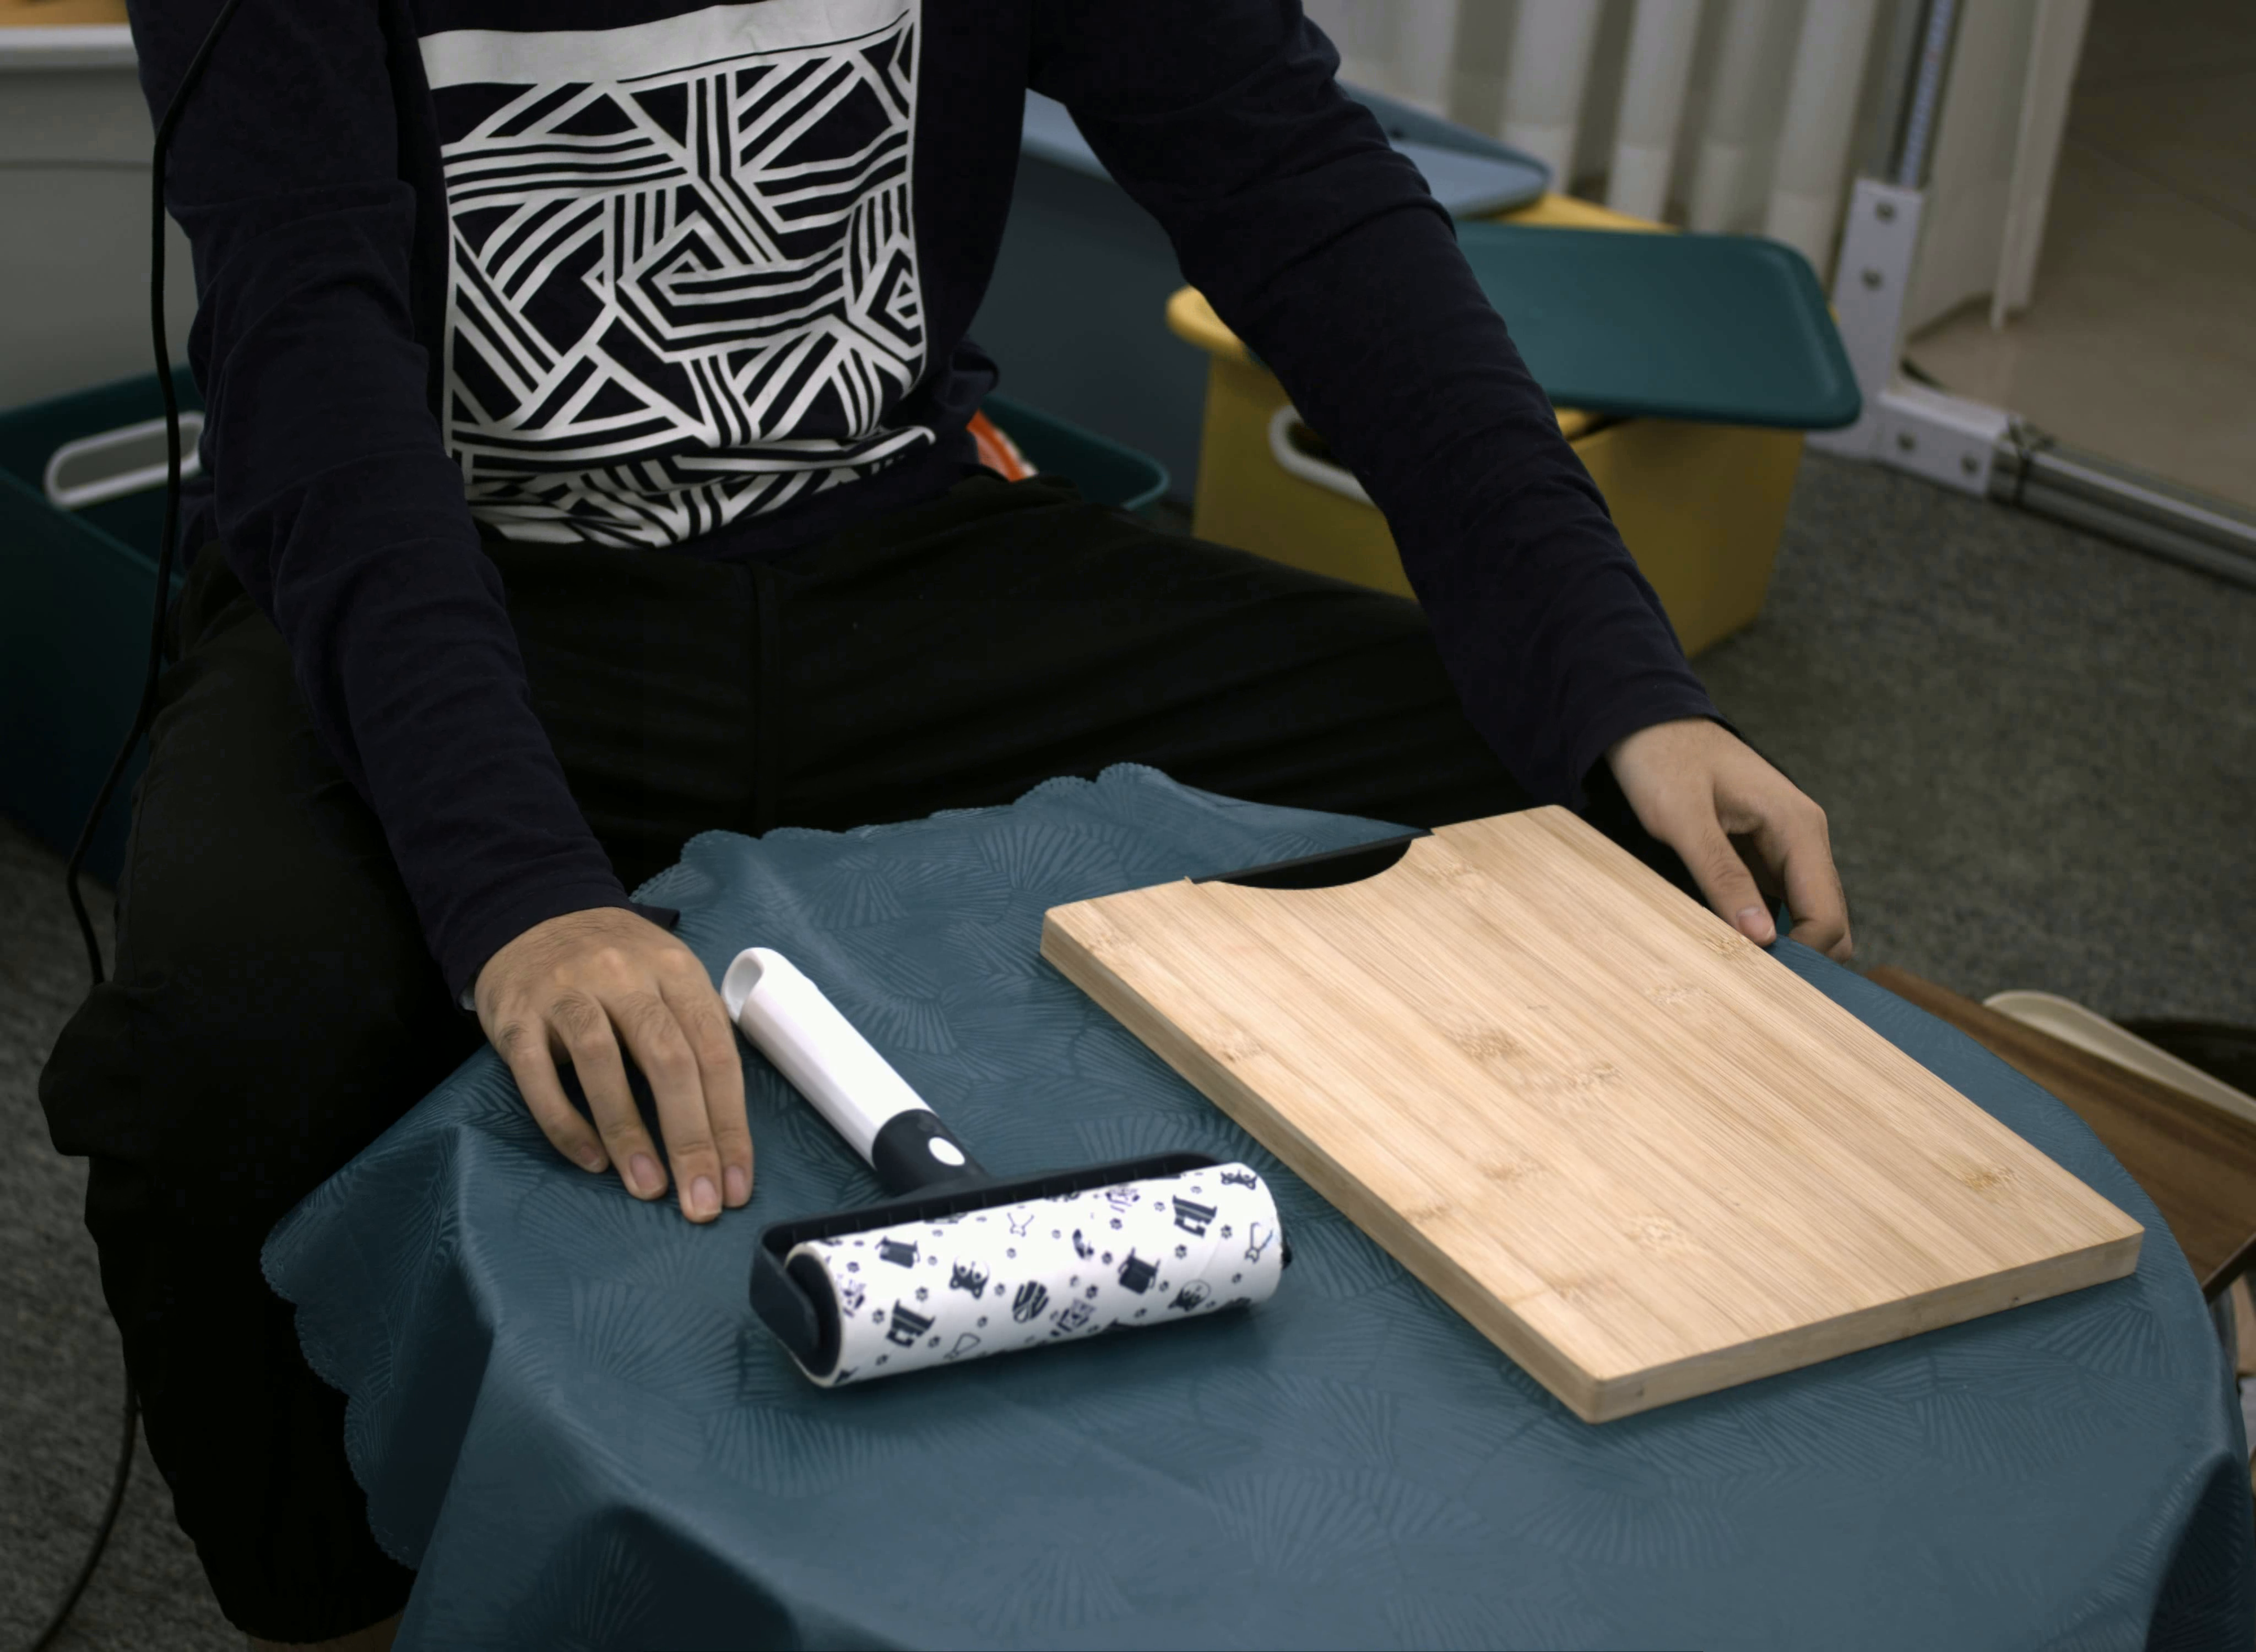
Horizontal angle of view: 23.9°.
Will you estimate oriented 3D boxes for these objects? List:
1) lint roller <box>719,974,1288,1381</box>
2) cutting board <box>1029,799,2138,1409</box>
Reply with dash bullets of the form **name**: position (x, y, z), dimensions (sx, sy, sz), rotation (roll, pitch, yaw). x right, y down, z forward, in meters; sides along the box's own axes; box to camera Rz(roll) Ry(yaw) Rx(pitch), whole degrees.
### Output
- **lint roller**: position (-0.080, 0.102, 1.787), dimensions (0.175, 0.050, 0.249), rotation (-10, 28, -27)
- **cutting board**: position (0.154, 0.091, 1.889), dimensions (0.249, 0.023, 0.352), rotation (-11, 31, -32)
